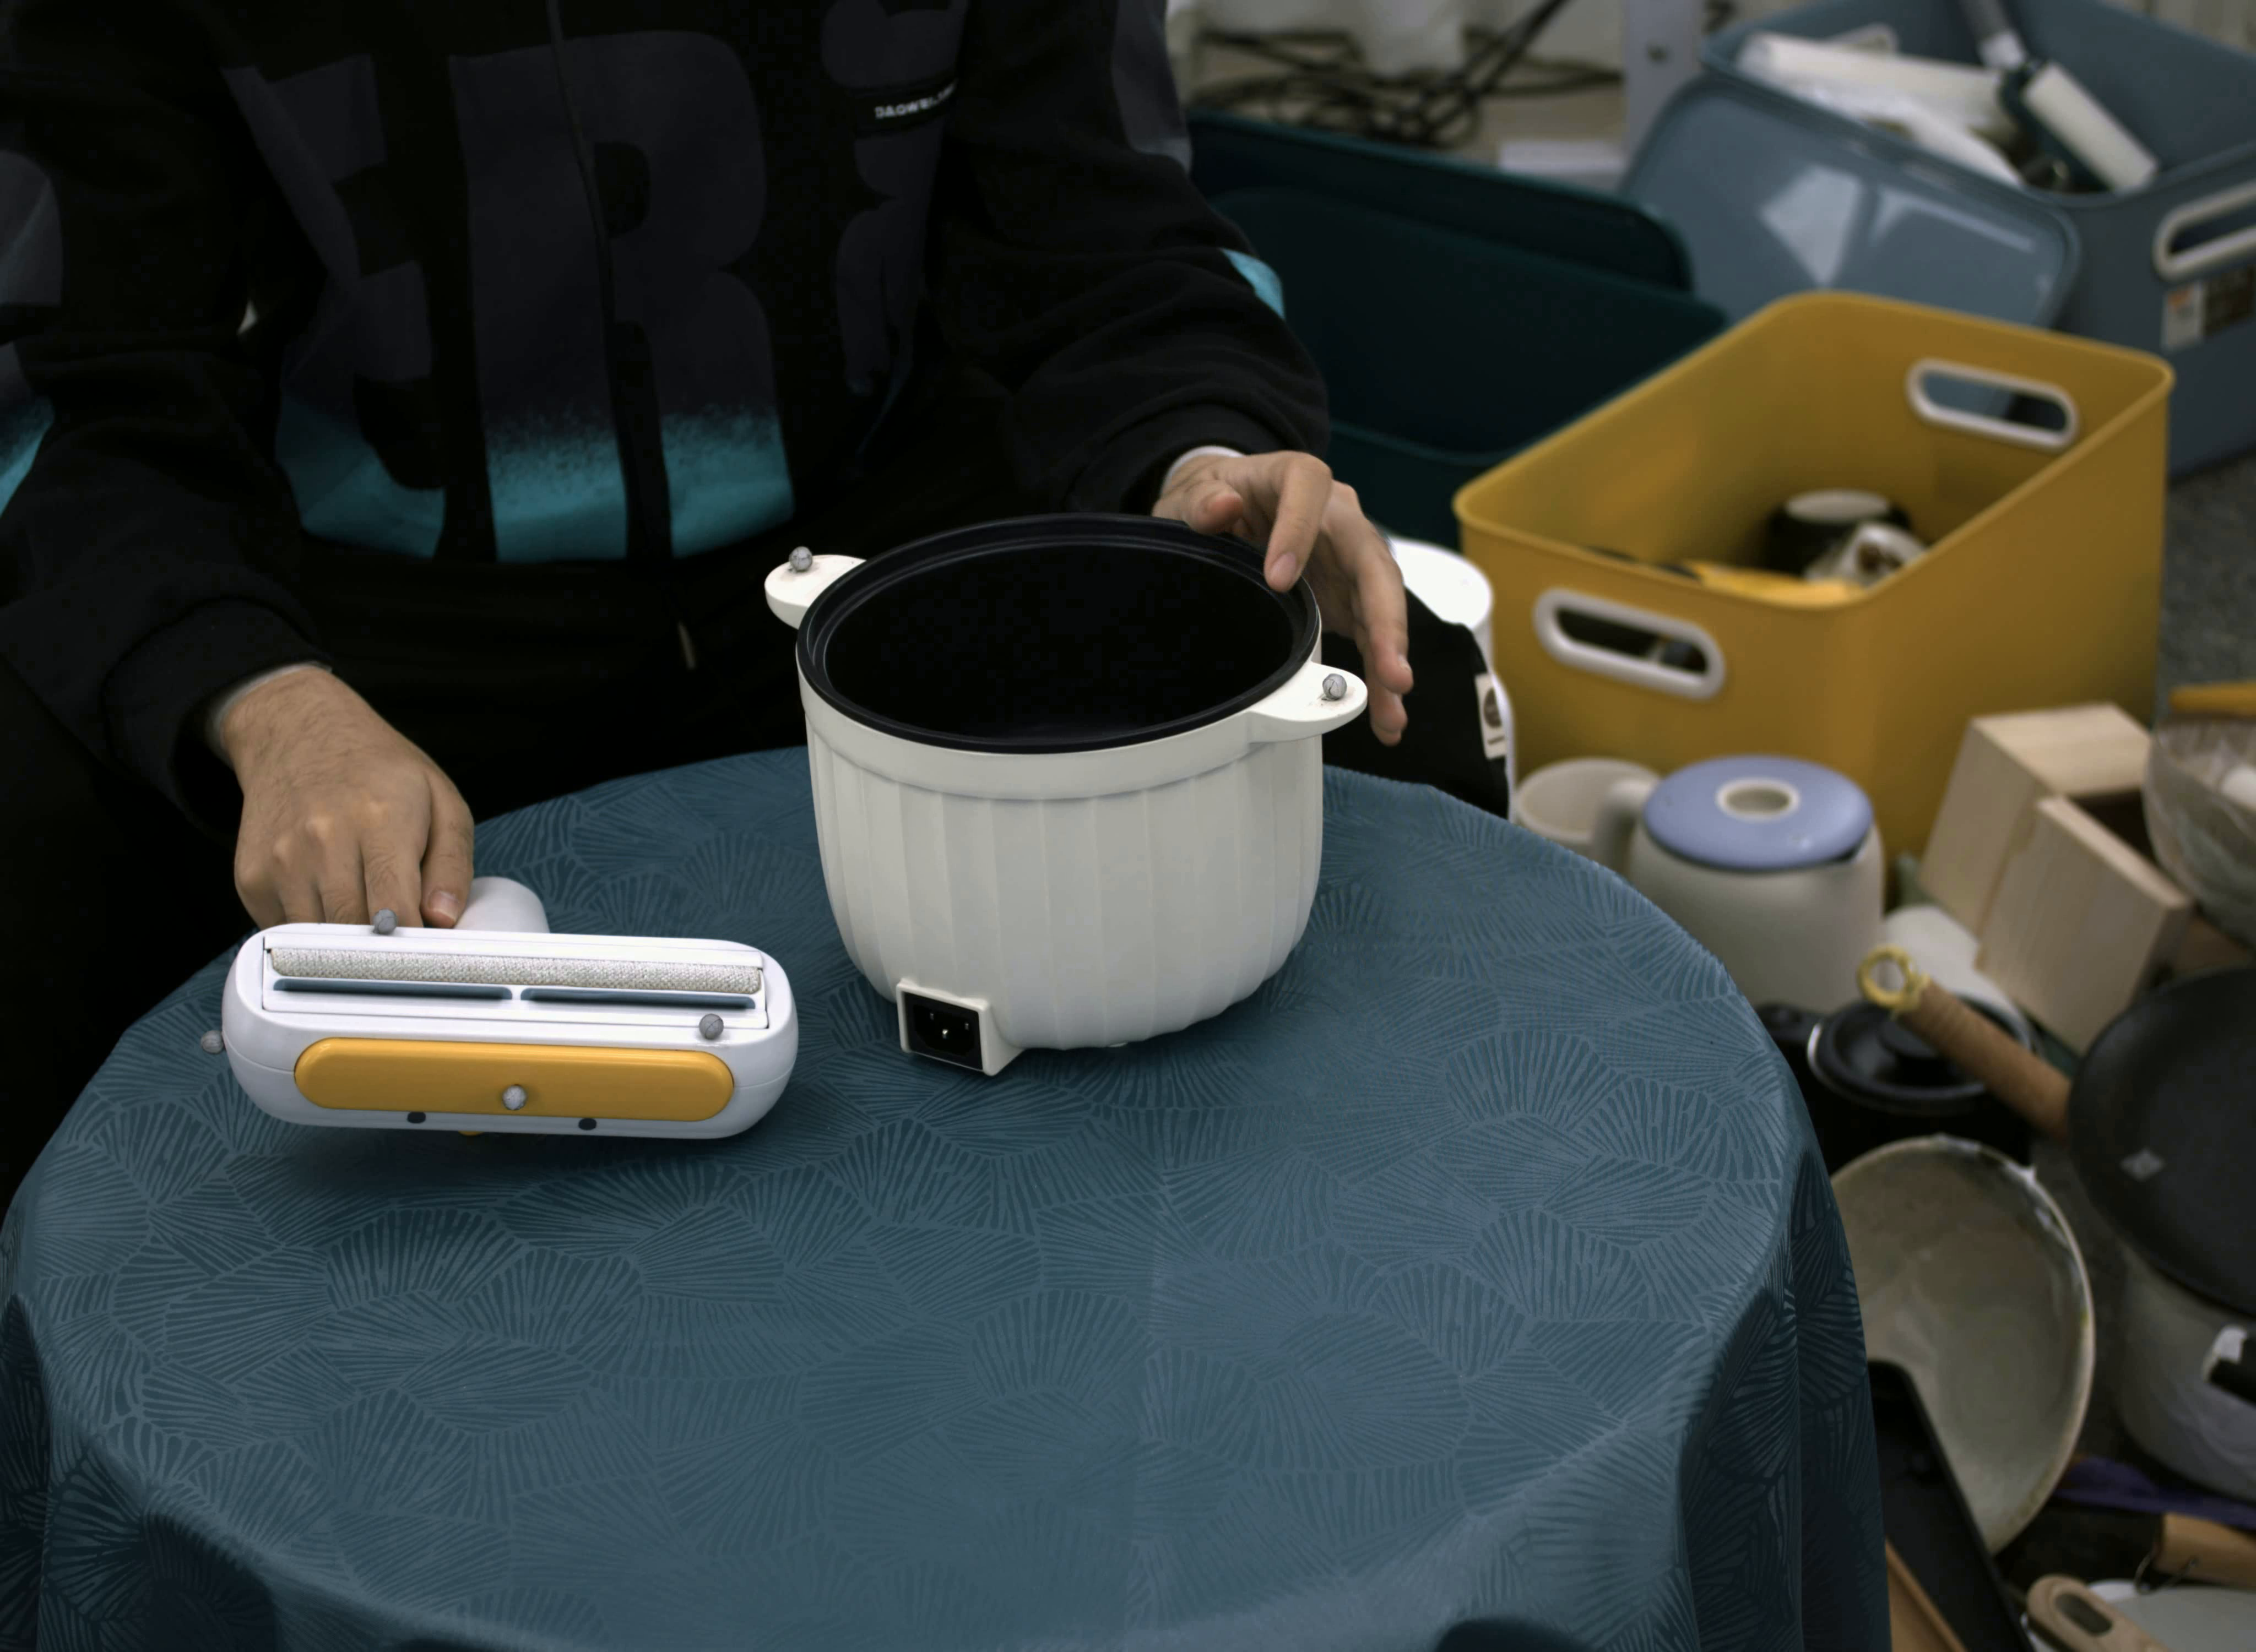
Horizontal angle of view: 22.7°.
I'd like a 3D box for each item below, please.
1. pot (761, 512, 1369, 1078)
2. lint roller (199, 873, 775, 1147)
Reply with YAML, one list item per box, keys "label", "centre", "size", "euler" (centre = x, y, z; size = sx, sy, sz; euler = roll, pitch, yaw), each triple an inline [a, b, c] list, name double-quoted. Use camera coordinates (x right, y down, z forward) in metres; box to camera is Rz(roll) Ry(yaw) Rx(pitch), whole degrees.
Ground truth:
- label: "pot"
  centre: [-0.019, -0.014, 1.973]
  size: [0.239, 0.141, 0.194]
  euler: [14, 34, 28]
- label: "lint roller"
  centre: [-0.220, 0.051, 1.946]
  size: [0.192, 0.073, 0.195]
  euler: [0, 26, -5]
